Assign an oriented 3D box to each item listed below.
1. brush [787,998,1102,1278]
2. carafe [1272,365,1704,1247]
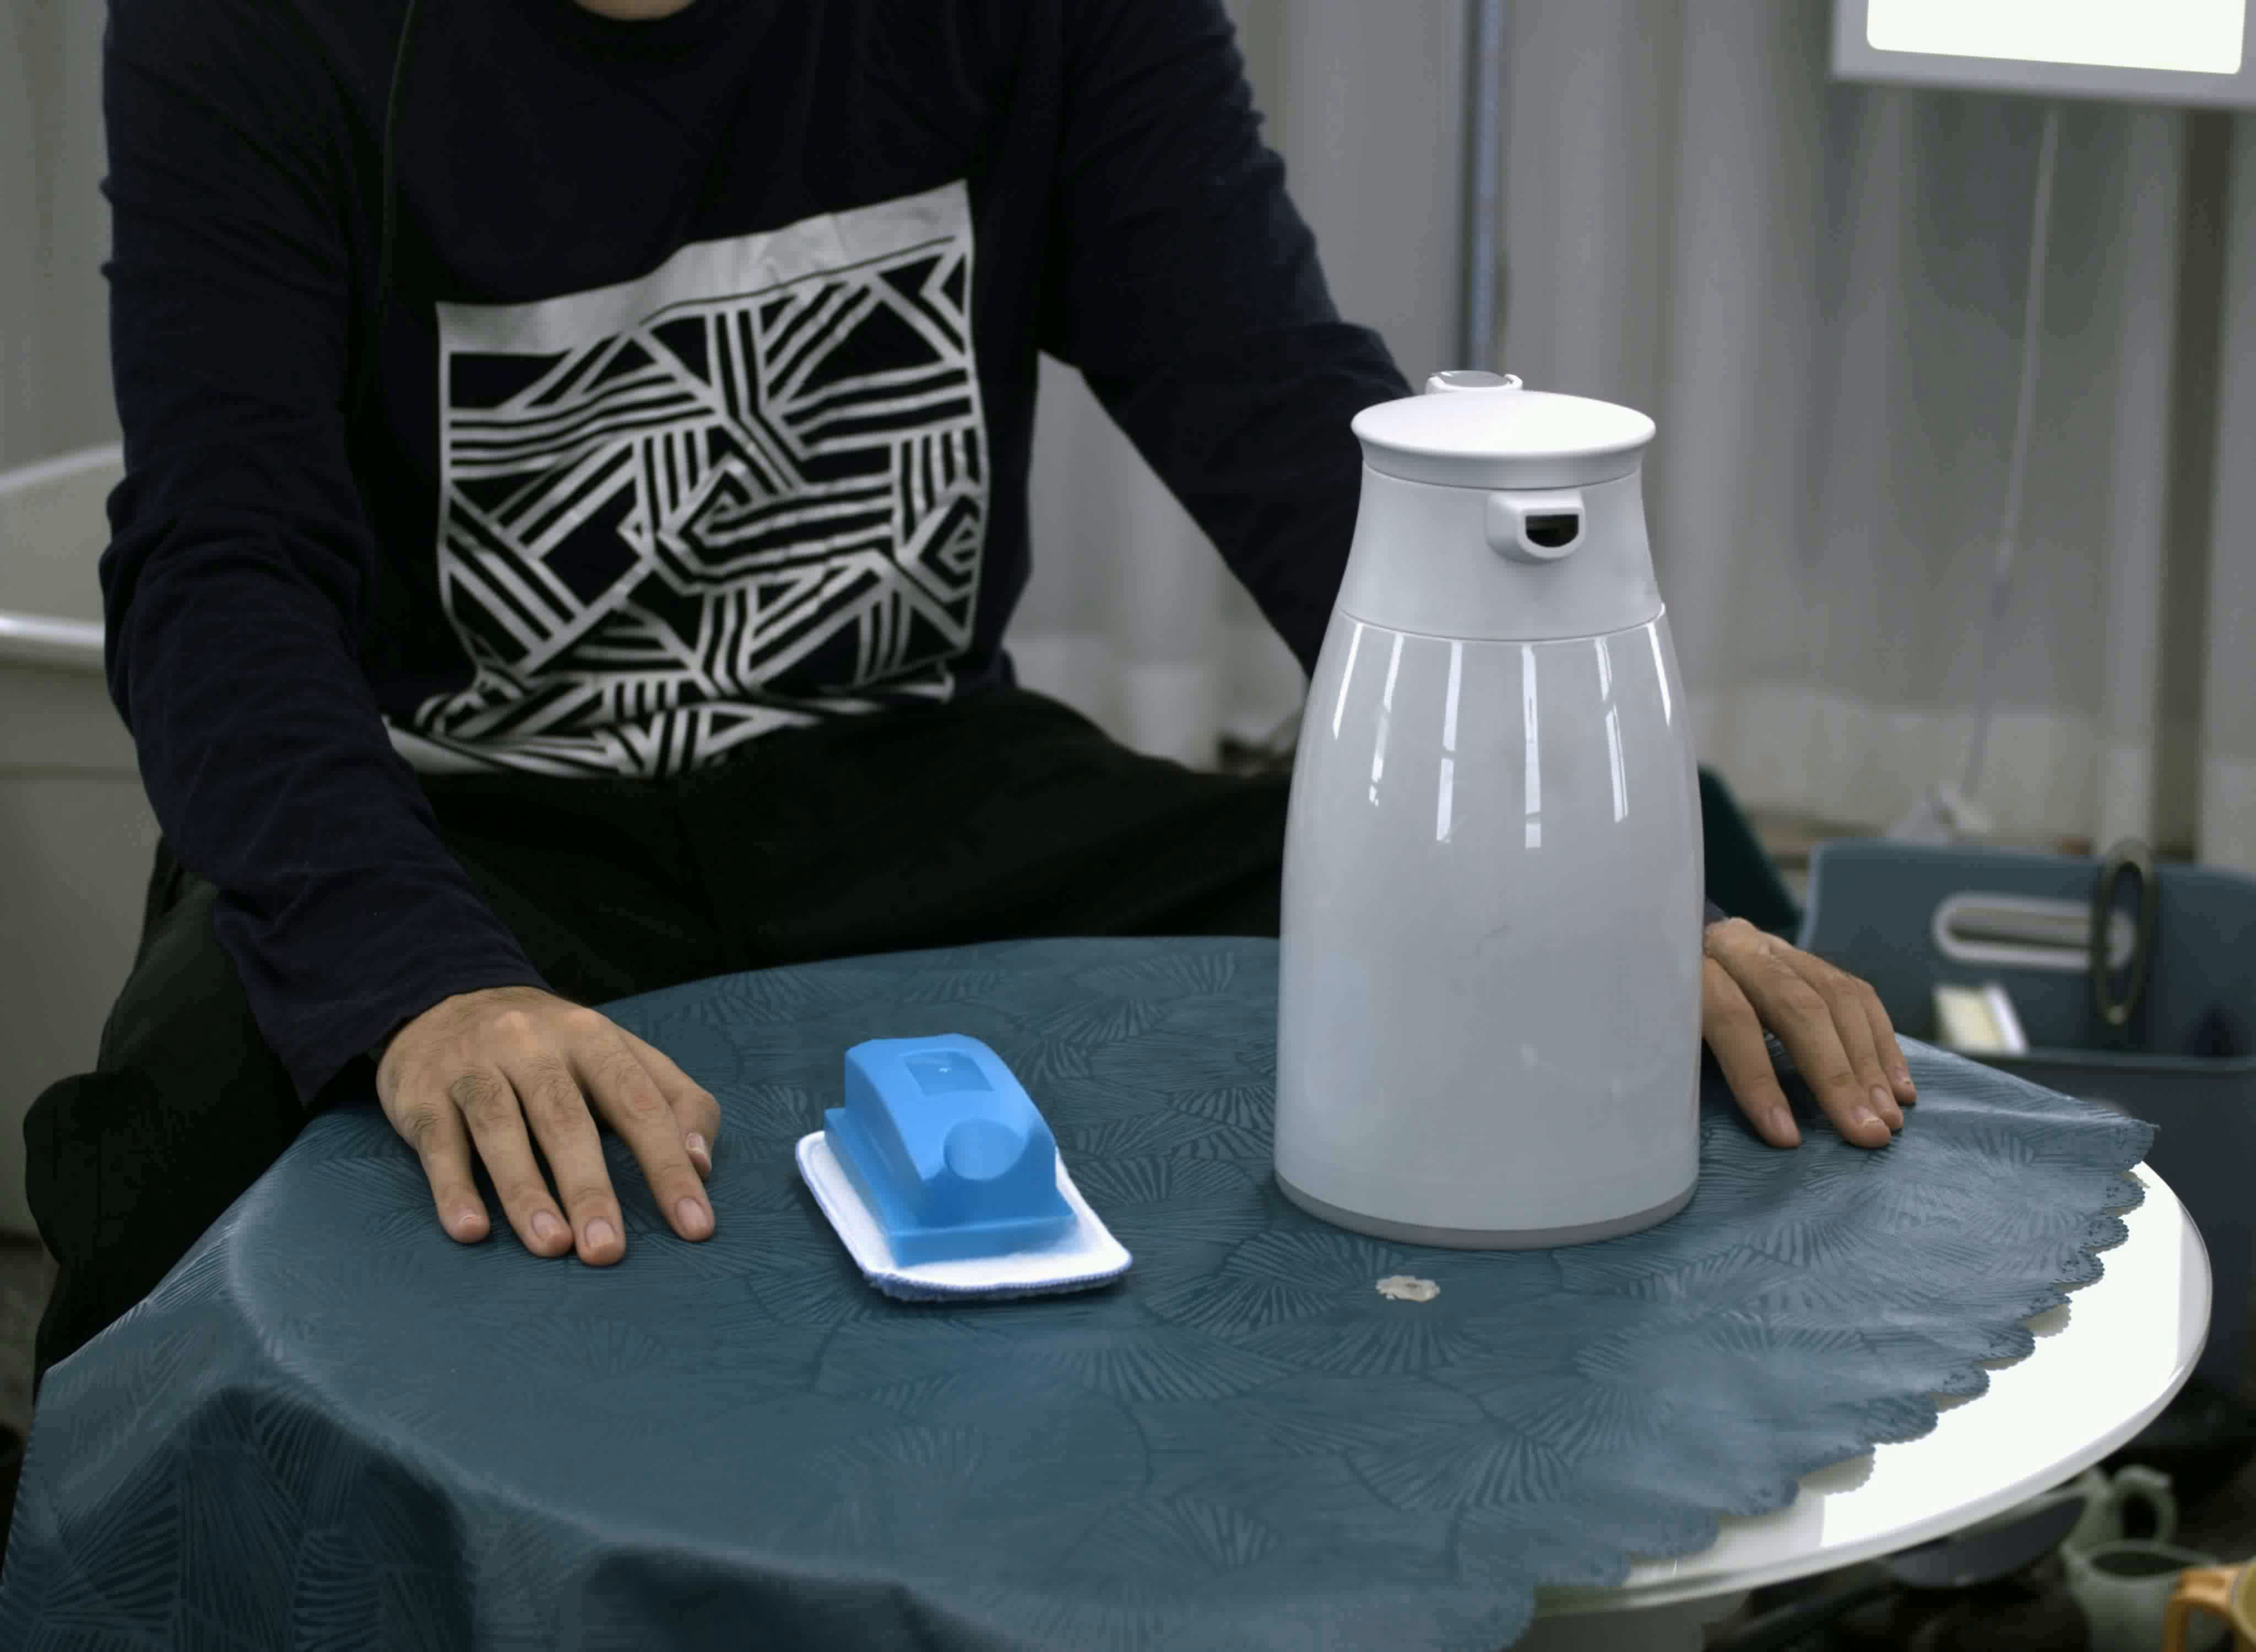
[{"bbox_3d":[-0.054,0.091,1.587,0.084,0.056,0.142,1,17,-12],"label":"brush"},{"bbox_3d":[0.106,-0.015,1.622,0.132,0.250,0.166,-3,15,-13],"label":"carafe"}]
